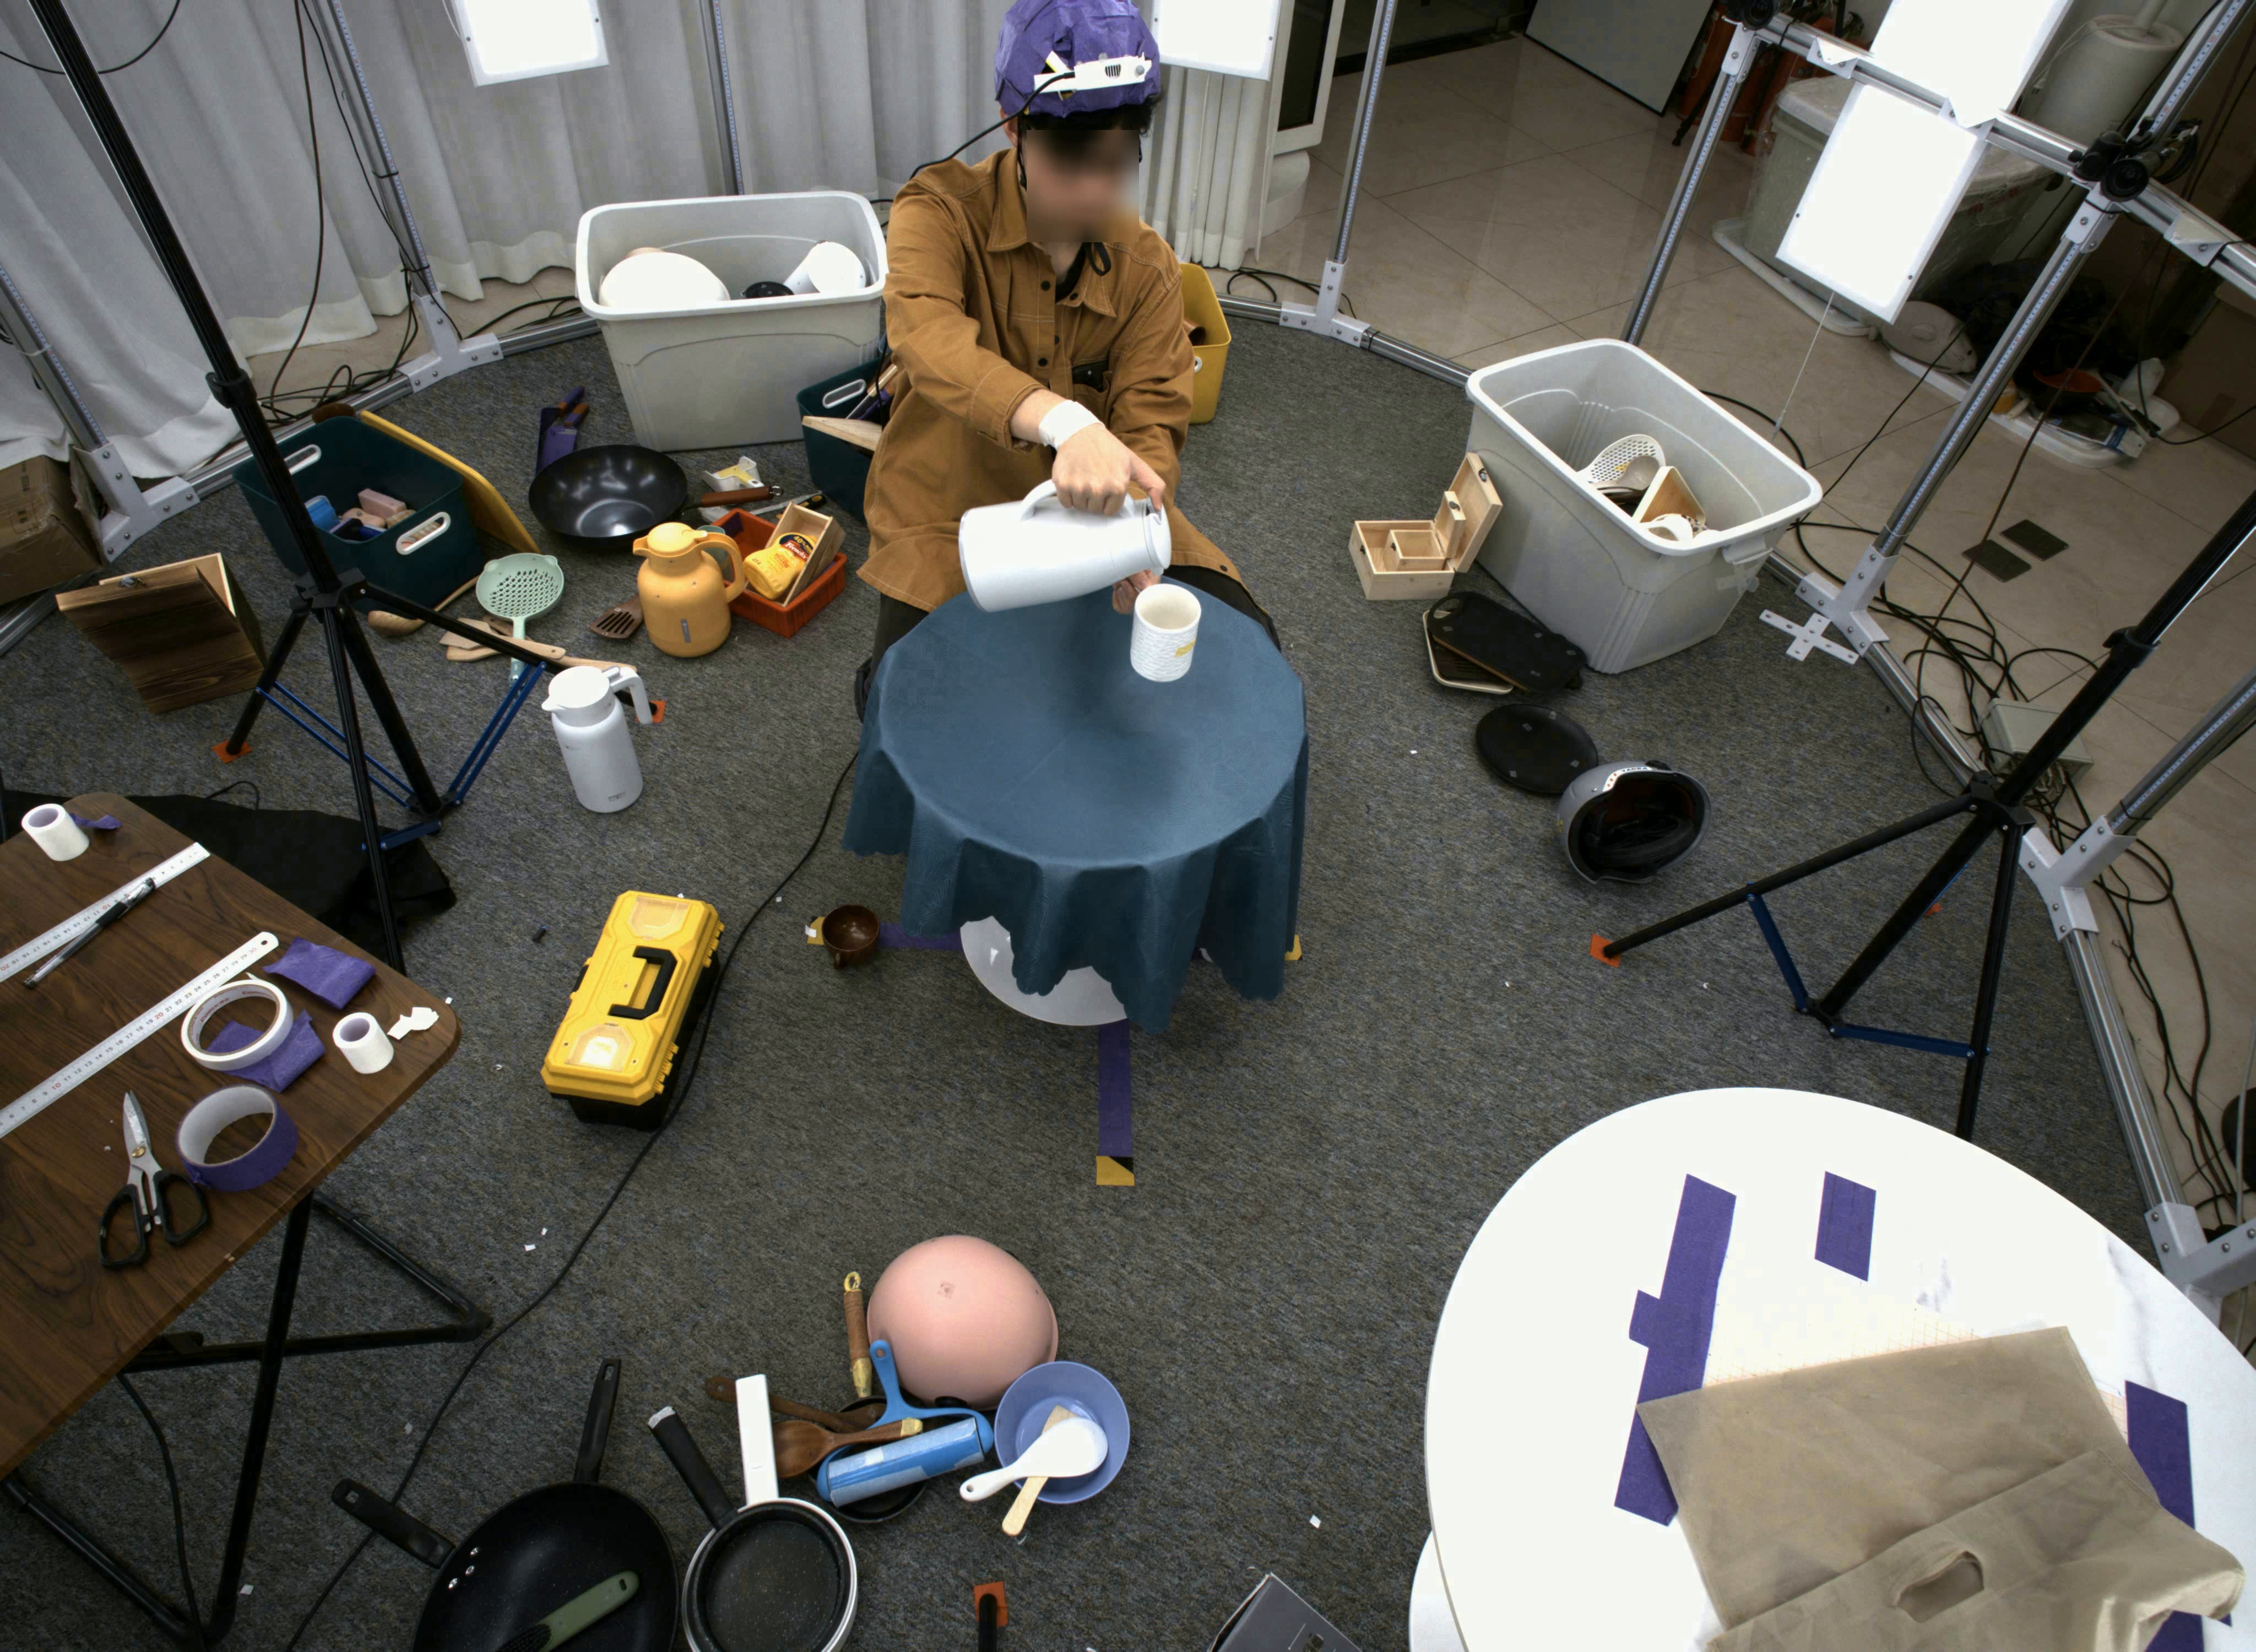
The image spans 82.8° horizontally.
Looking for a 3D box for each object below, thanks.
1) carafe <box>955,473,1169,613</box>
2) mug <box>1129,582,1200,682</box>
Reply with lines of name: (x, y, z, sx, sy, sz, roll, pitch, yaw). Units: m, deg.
carafe: (-0.079, -0.355, 1.579, 0.249, 0.164, 0.135, -6, 54, 17)
mug: (0.038, -0.263, 1.692, 0.085, 0.099, 0.120, -25, 60, -20)
